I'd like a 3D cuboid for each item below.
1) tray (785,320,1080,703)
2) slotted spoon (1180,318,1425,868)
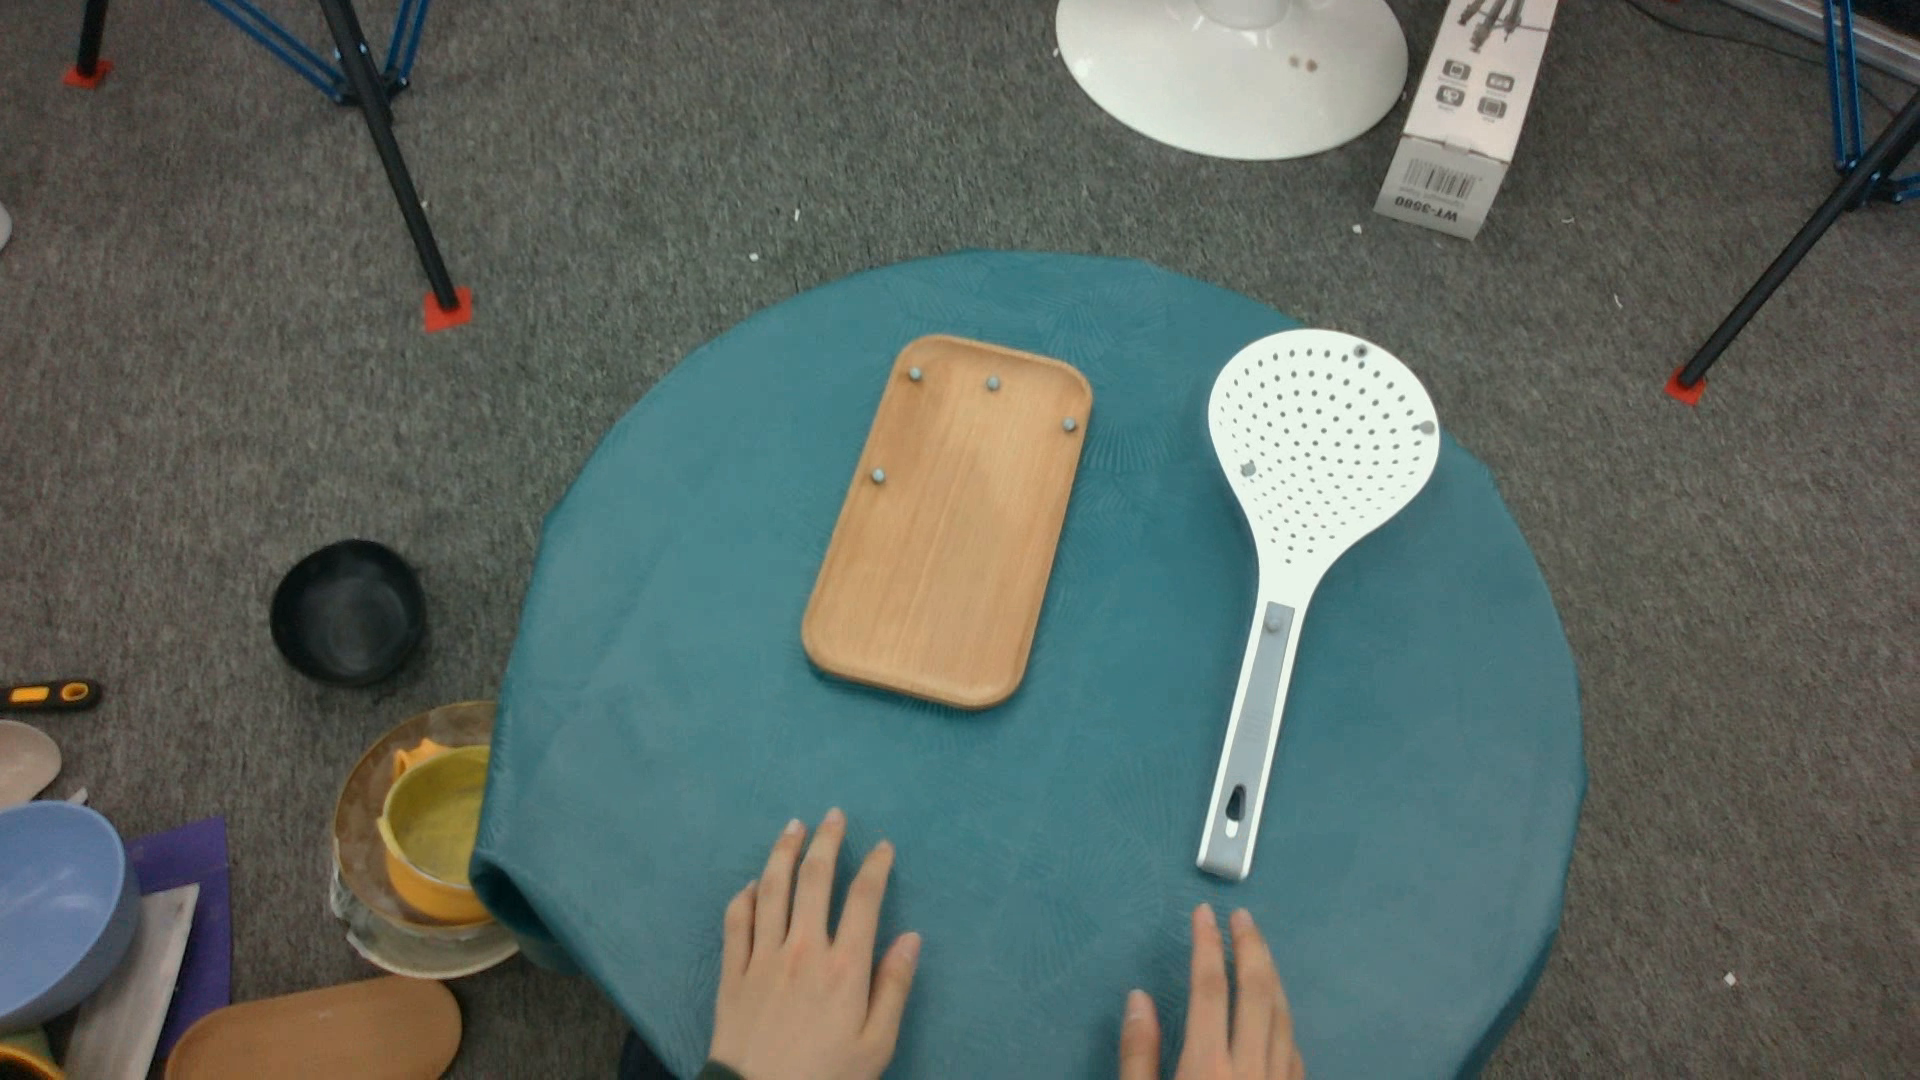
[{"bbox_3d":[-0.011,-0.024,0.811,0.130,0.023,0.252,13,59,5],"label":"tray"},{"bbox_3d":[0.179,0.018,0.785,0.136,0.045,0.351,16,59,7],"label":"slotted spoon"}]
